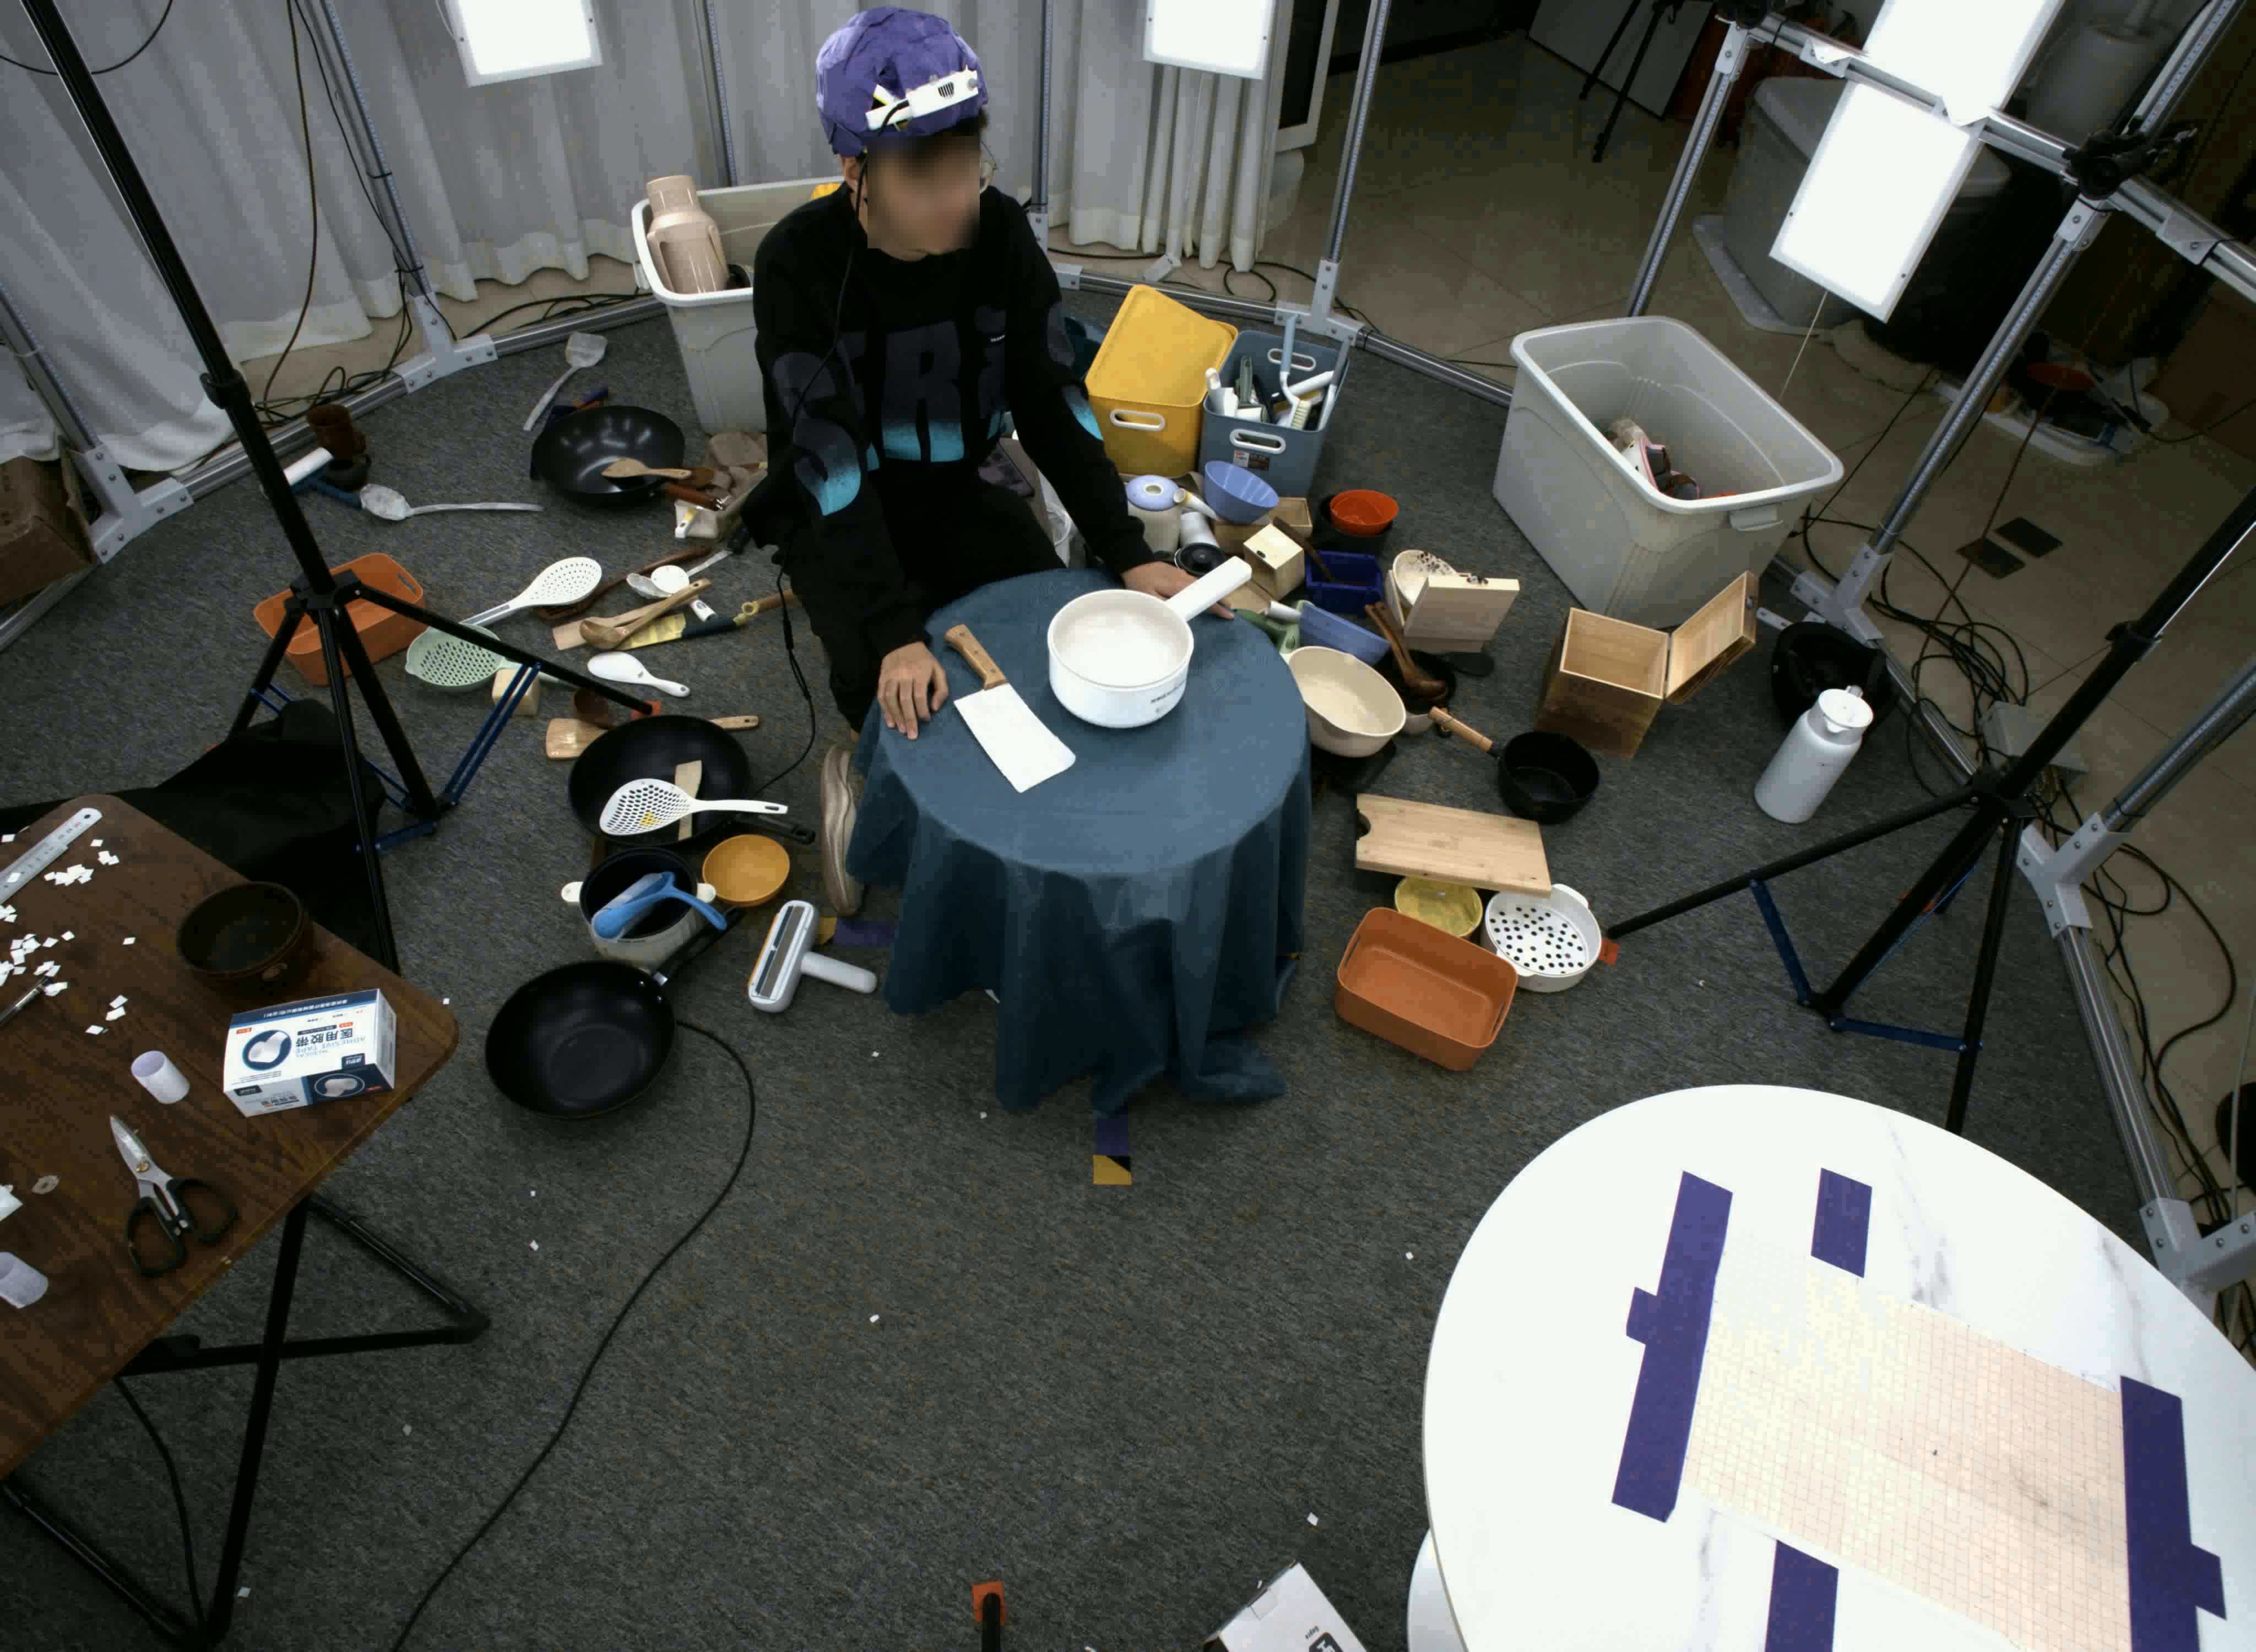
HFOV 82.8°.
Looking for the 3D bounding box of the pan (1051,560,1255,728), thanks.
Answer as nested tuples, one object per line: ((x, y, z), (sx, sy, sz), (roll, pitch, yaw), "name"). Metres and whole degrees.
((0.046, -0.268, 1.842), (0.358, 0.099, 0.204), (-35, 58, -30), "pan")

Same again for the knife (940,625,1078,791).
((-0.179, -0.172, 1.795), (0.114, 0.021, 0.322), (-21, 56, -20), "knife")
